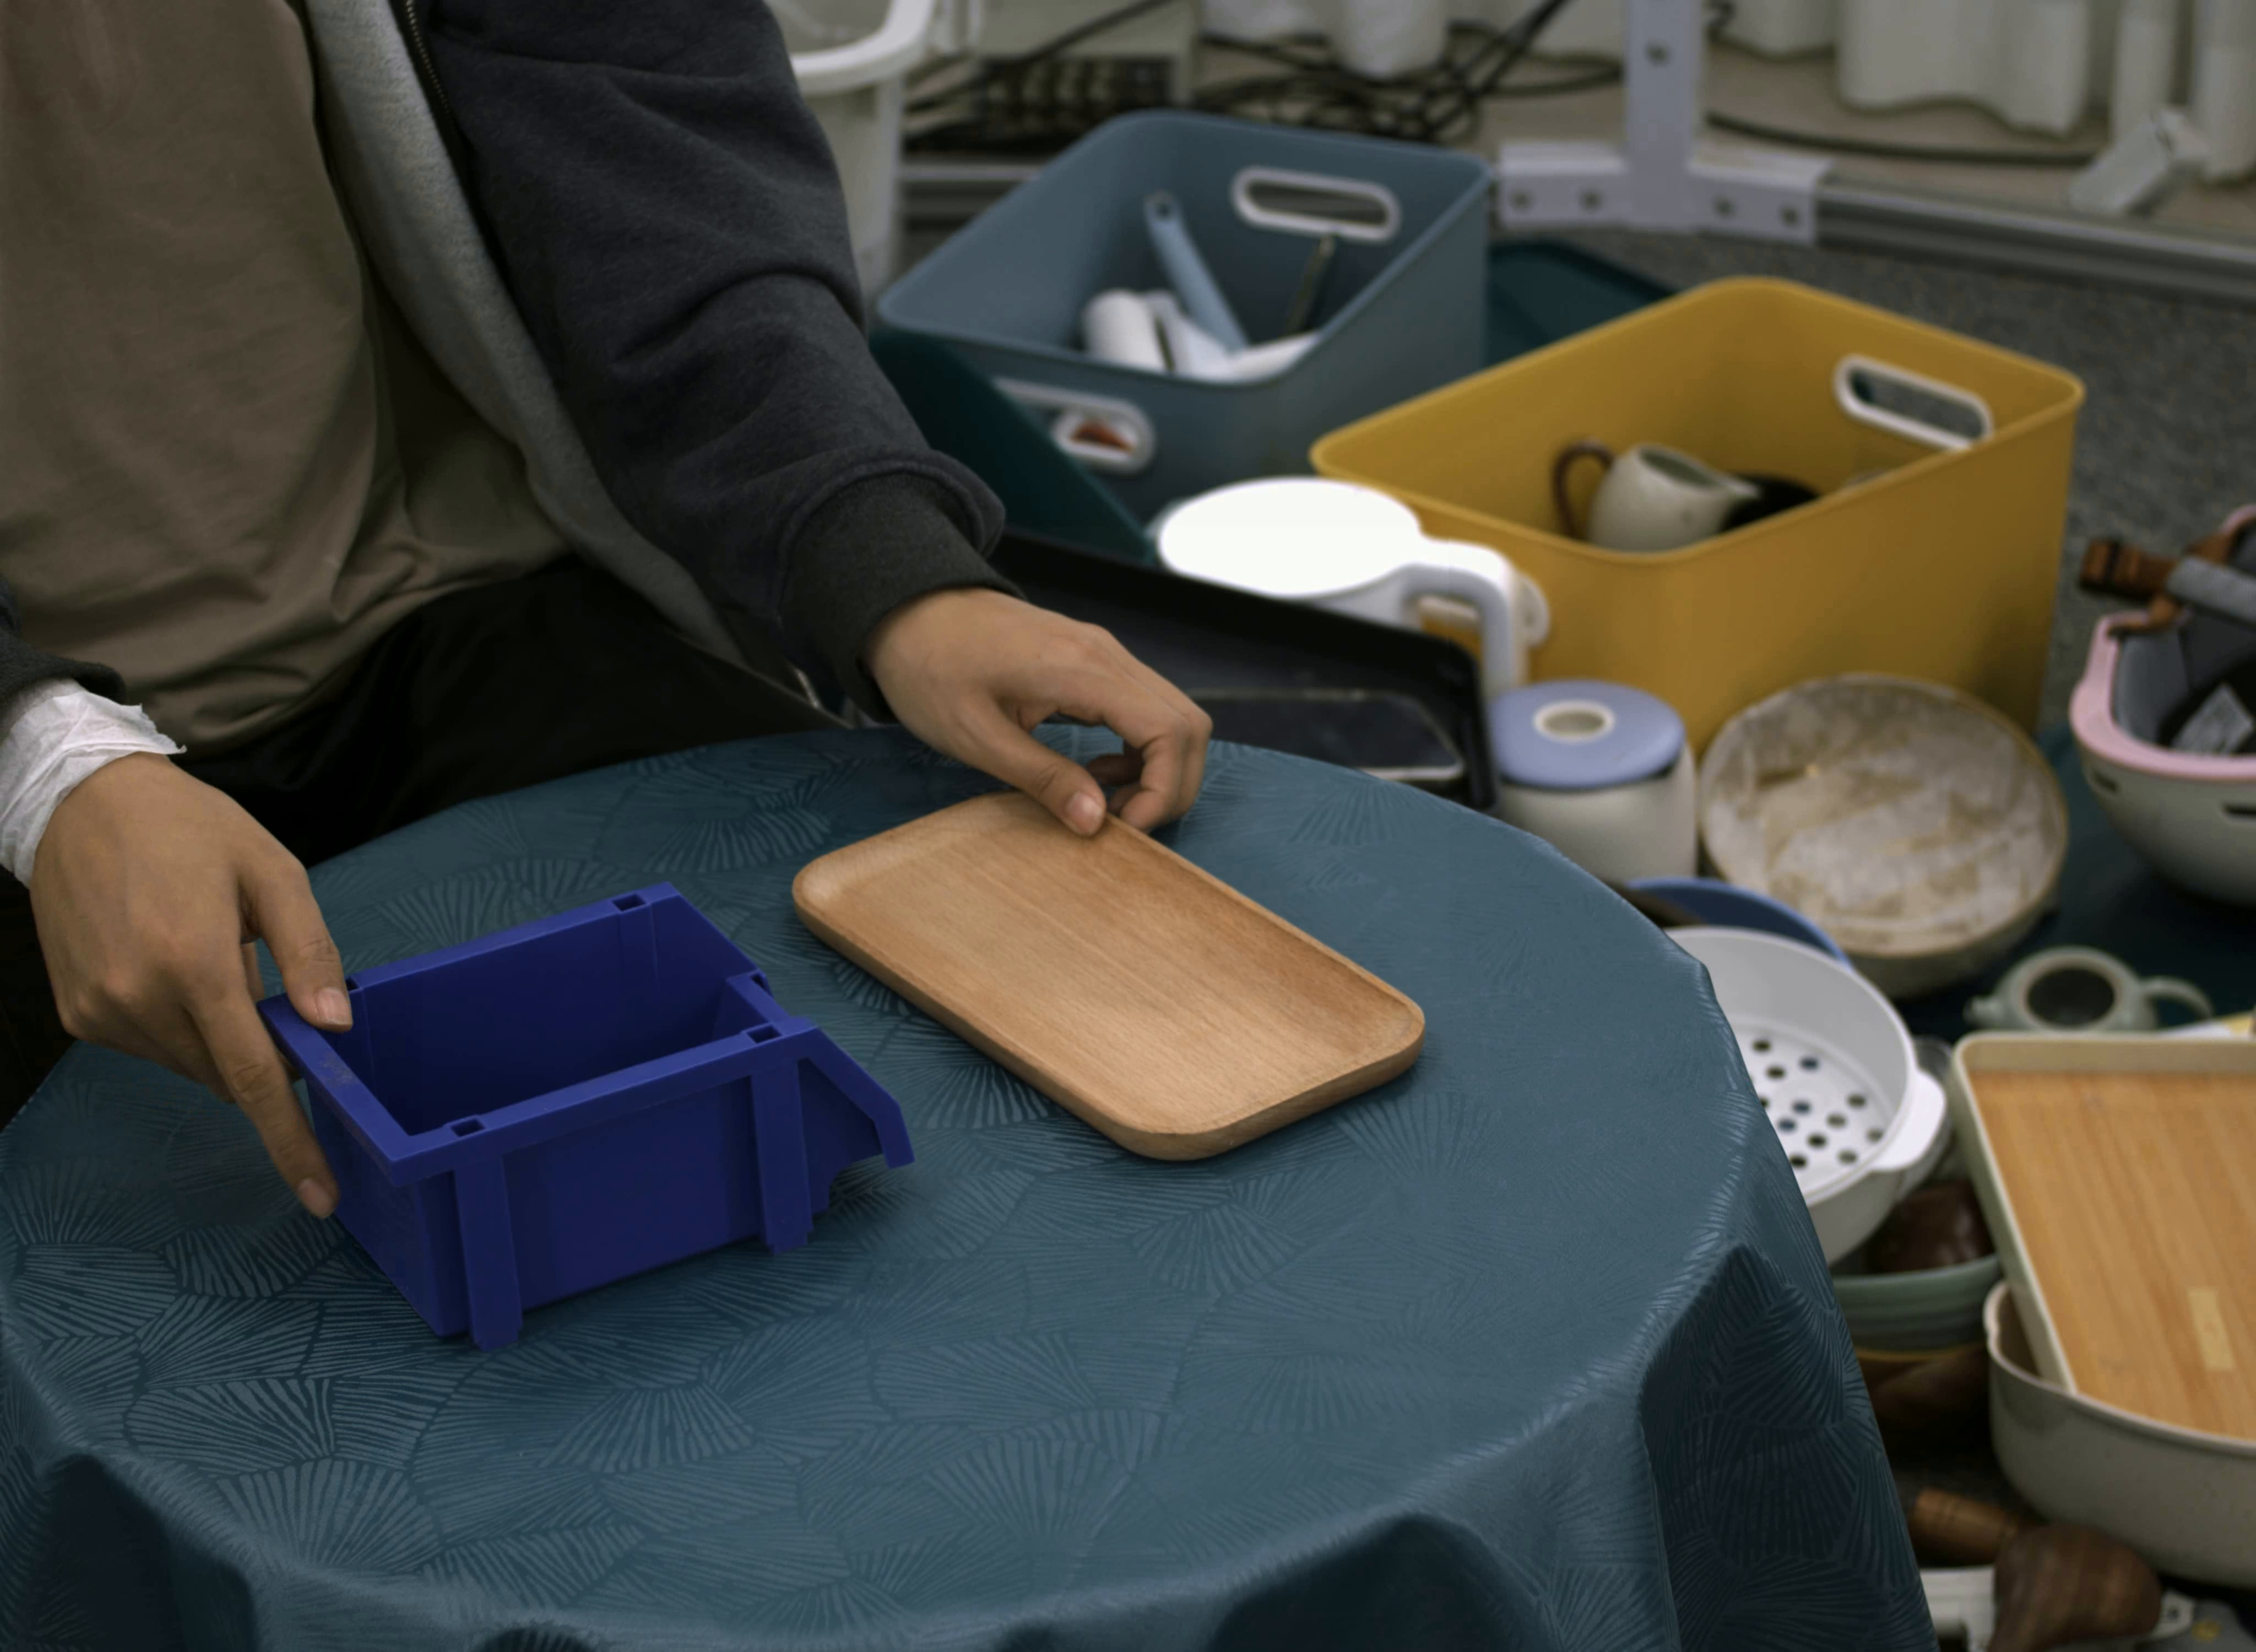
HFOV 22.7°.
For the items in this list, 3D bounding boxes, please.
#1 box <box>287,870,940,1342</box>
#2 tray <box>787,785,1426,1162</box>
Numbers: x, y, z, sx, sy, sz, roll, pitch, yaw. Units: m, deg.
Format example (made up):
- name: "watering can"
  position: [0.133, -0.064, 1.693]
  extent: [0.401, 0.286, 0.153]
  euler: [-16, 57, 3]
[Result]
- name: "box"
  position: [-0.170, 0.088, 1.856]
  extent: [0.180, 0.081, 0.125]
  euler: [-19, 30, -21]
- name: "tray"
  position: [-0.010, 0.050, 1.982]
  extent: [0.131, 0.022, 0.251]
  euler: [-18, 30, -31]
